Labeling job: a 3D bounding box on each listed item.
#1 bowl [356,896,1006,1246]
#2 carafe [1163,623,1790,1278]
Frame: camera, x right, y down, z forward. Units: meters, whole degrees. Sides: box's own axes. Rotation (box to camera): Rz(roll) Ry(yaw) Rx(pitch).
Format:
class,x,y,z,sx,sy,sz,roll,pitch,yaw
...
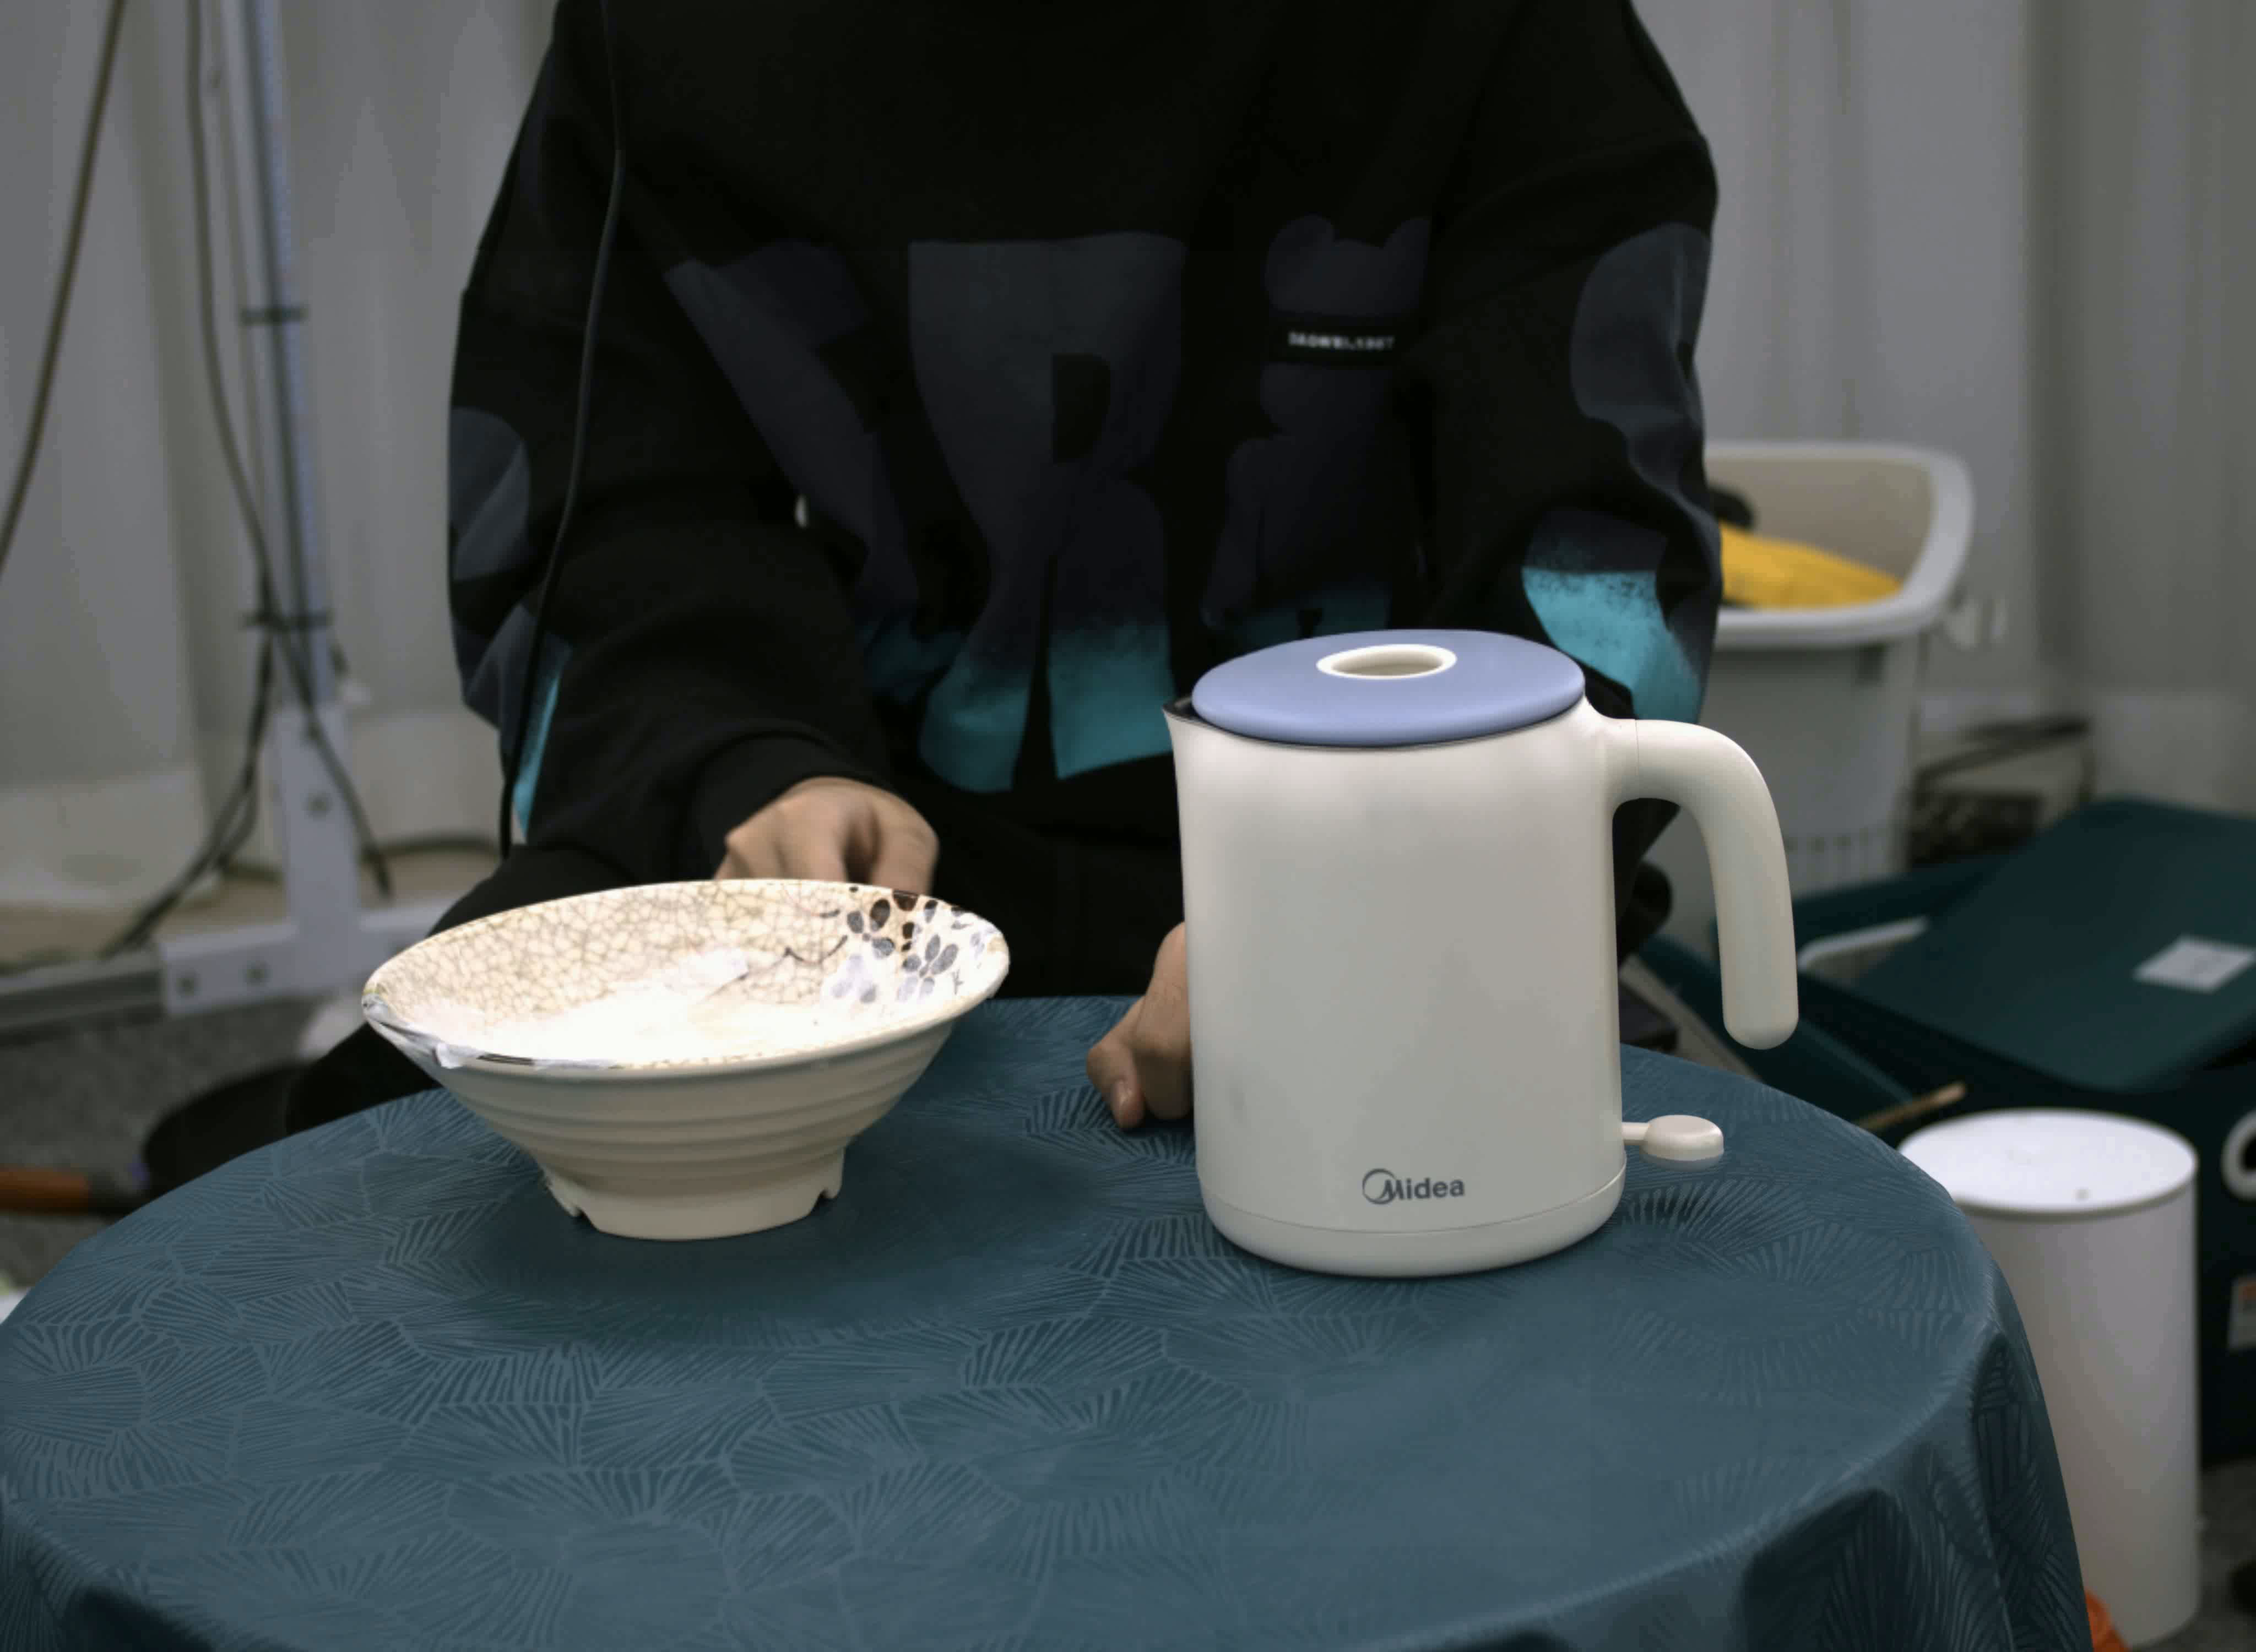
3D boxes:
class,x,y,z,sx,sy,sz,roll,pitch,yaw
bowl,-0.138,0.083,1.719,0.203,0.078,0.205,-2,12,0
carafe,0.106,0.036,1.659,0.190,0.182,0.133,-1,15,0
